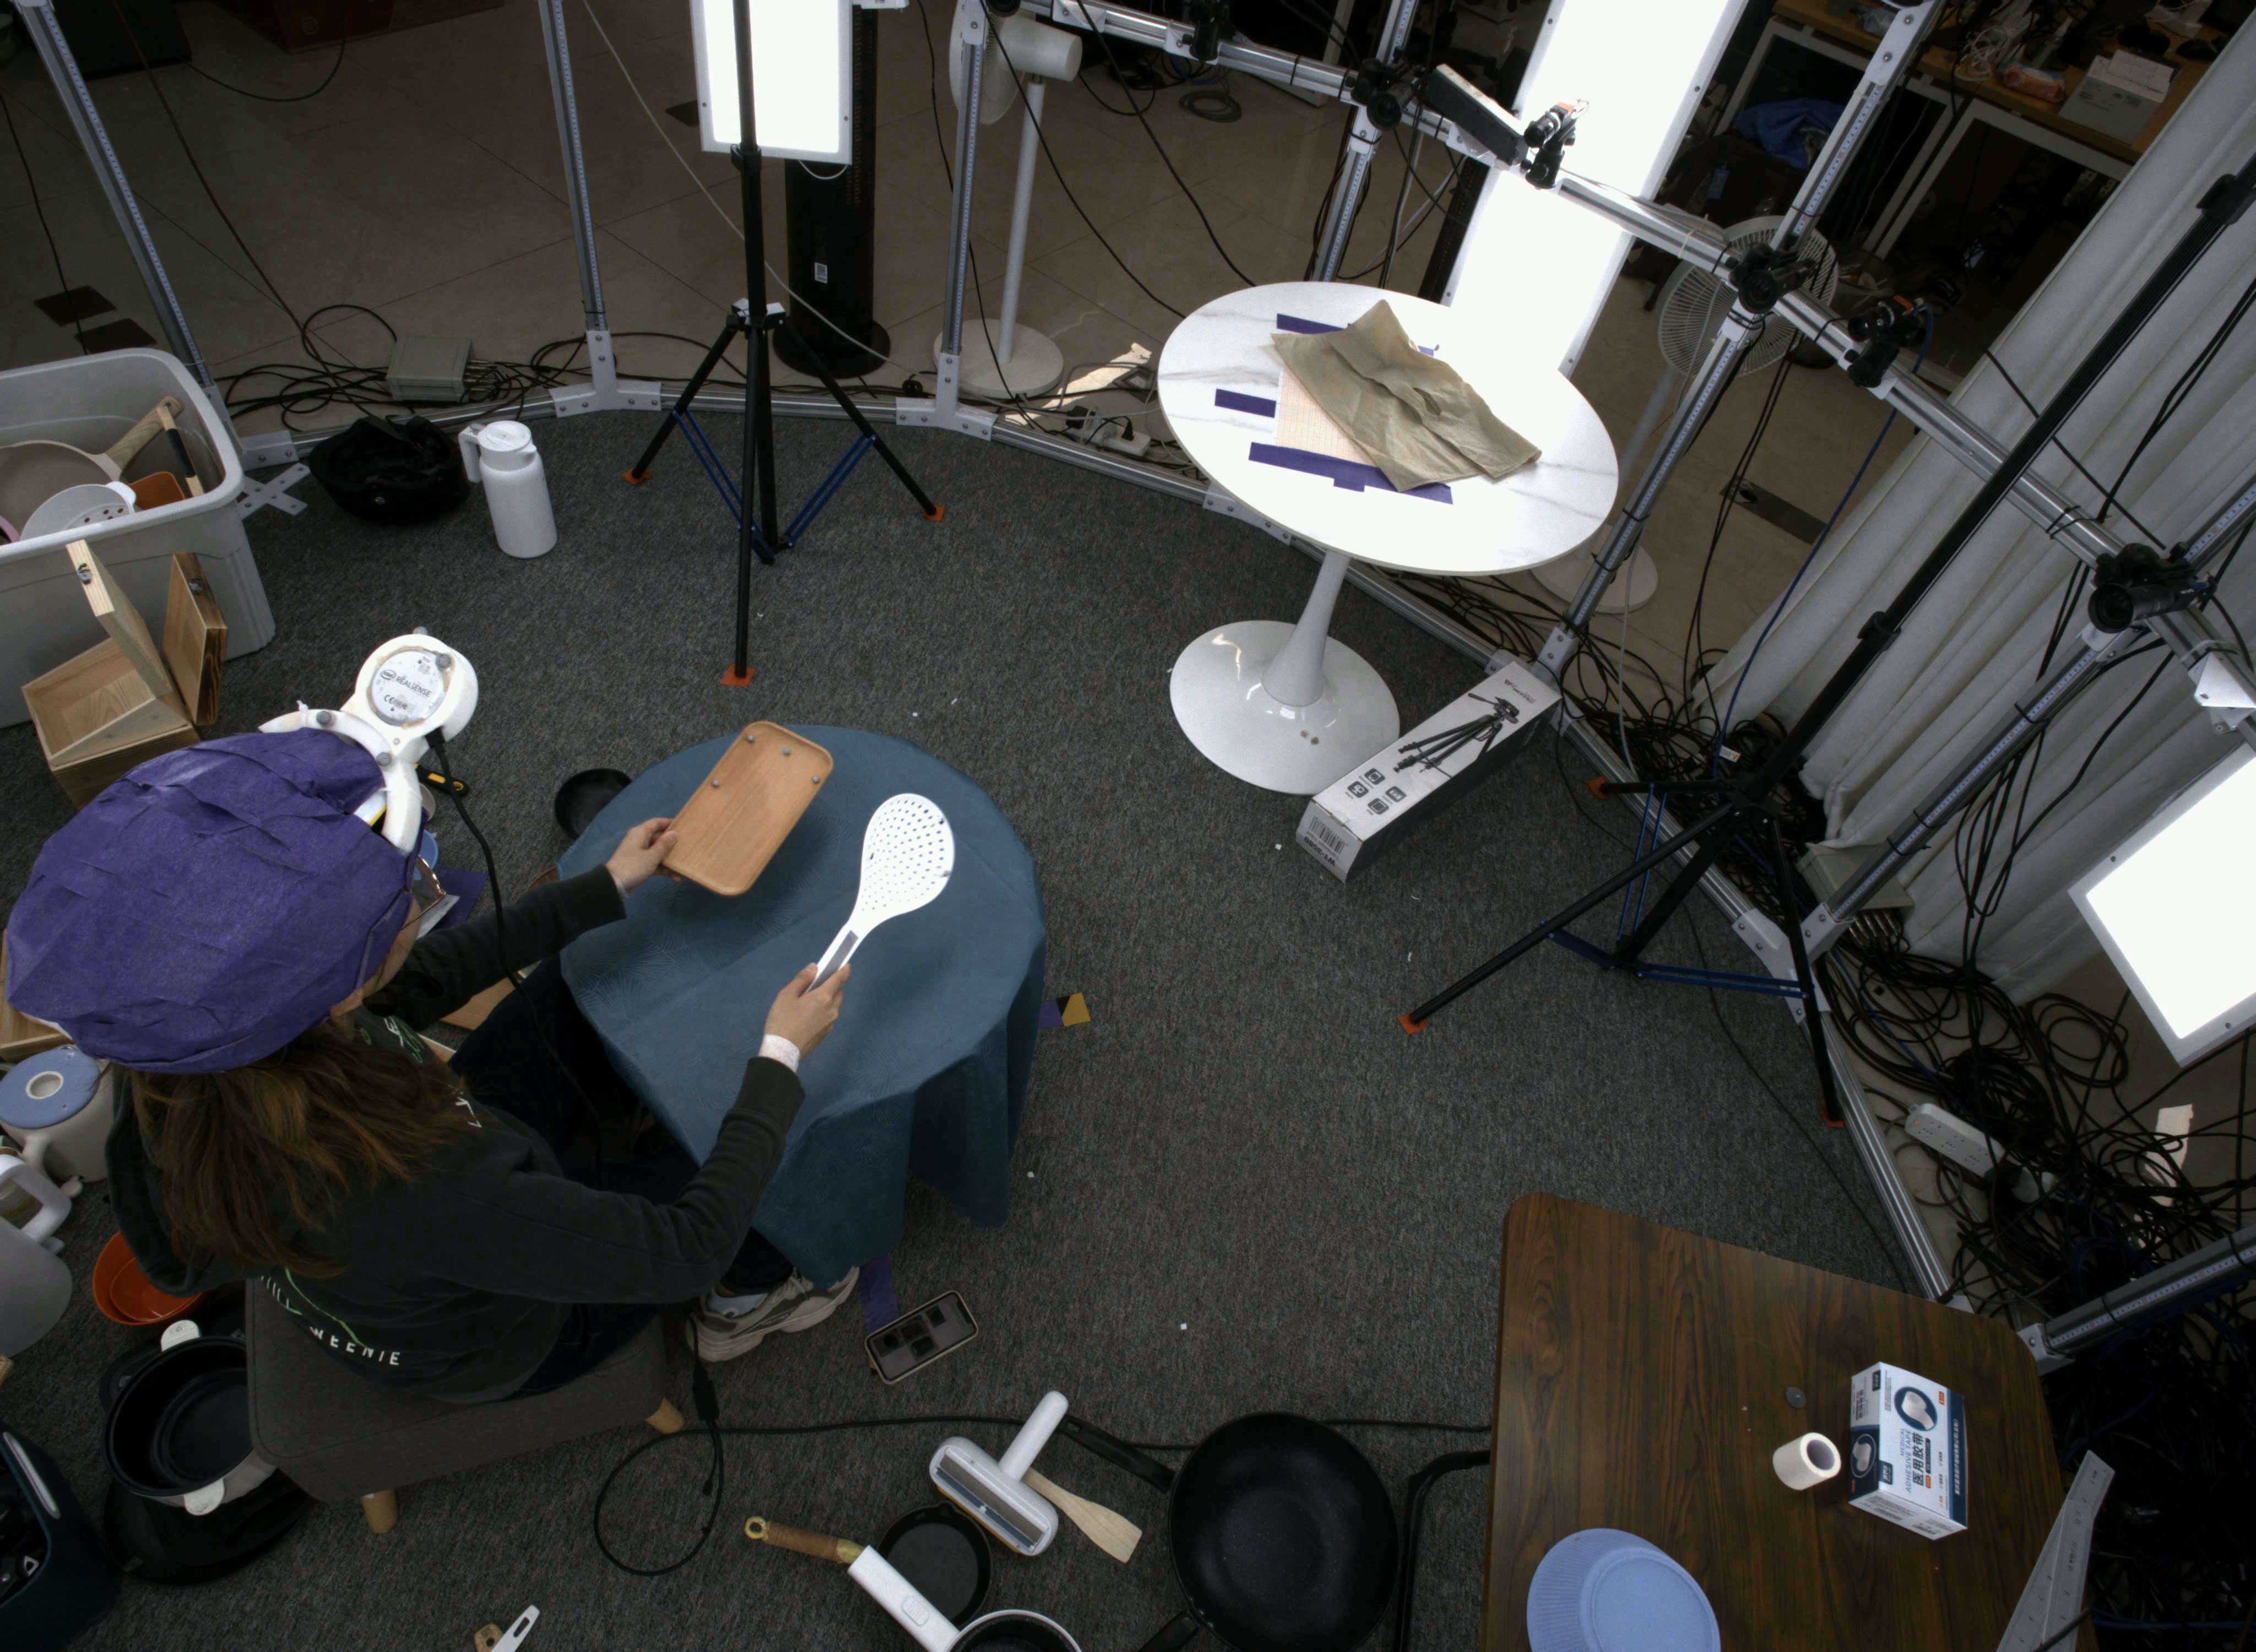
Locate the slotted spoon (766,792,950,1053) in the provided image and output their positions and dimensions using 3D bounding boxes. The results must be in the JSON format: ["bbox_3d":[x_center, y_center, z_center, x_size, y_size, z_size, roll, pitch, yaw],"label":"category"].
[{"bbox_3d":[-0.313,0.108,1.500,0.044,0.141,0.347,-3,47,35],"label":"slotted spoon"}]

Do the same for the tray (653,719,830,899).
[{"bbox_3d":[-0.480,-0.025,1.615,0.129,0.023,0.249,26,56,0],"label":"tray"}]
